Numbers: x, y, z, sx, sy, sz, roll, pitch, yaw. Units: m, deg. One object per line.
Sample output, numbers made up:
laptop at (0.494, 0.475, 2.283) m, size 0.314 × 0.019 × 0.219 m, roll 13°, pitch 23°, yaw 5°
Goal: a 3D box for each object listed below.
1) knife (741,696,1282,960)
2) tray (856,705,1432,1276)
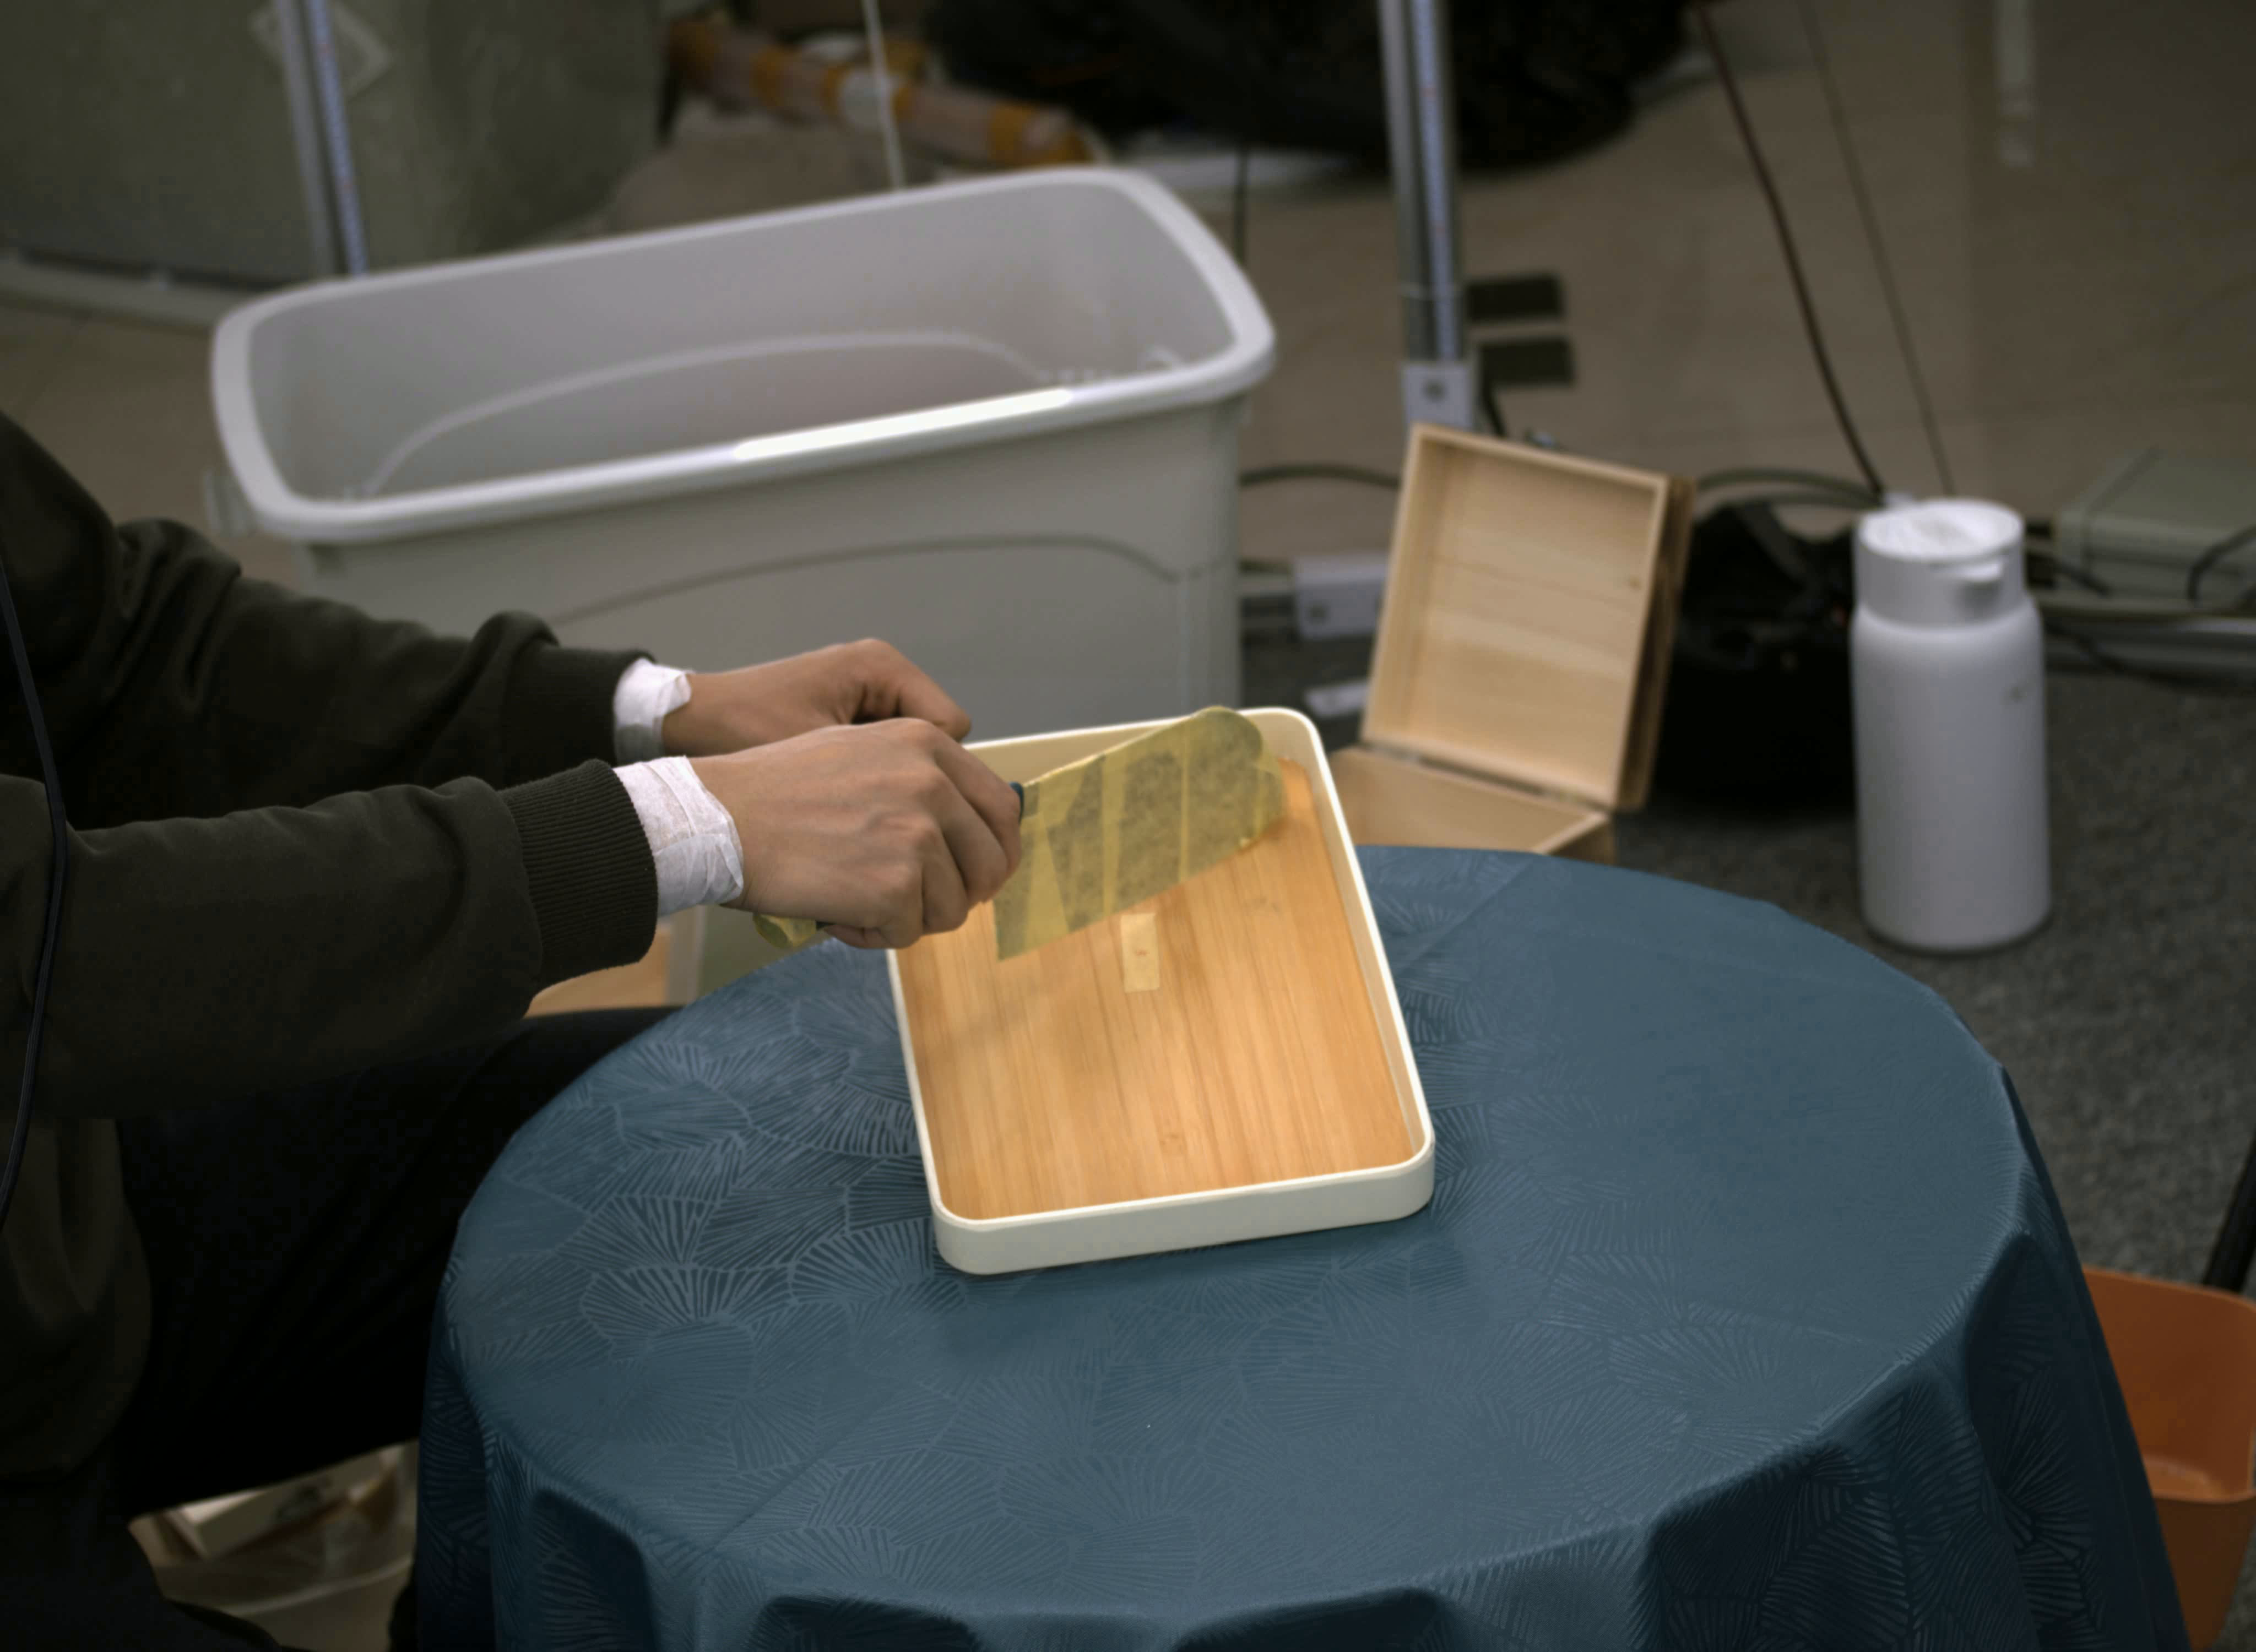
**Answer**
knife at (-0.038, 0.010, 2.194) m, size 0.027 × 0.082 × 0.287 m, roll 22°, pitch 29°, yaw 40°
tray at (0.002, 0.059, 2.210) m, size 0.191 × 0.028 × 0.295 m, roll -8°, pitch 38°, yaw -4°
